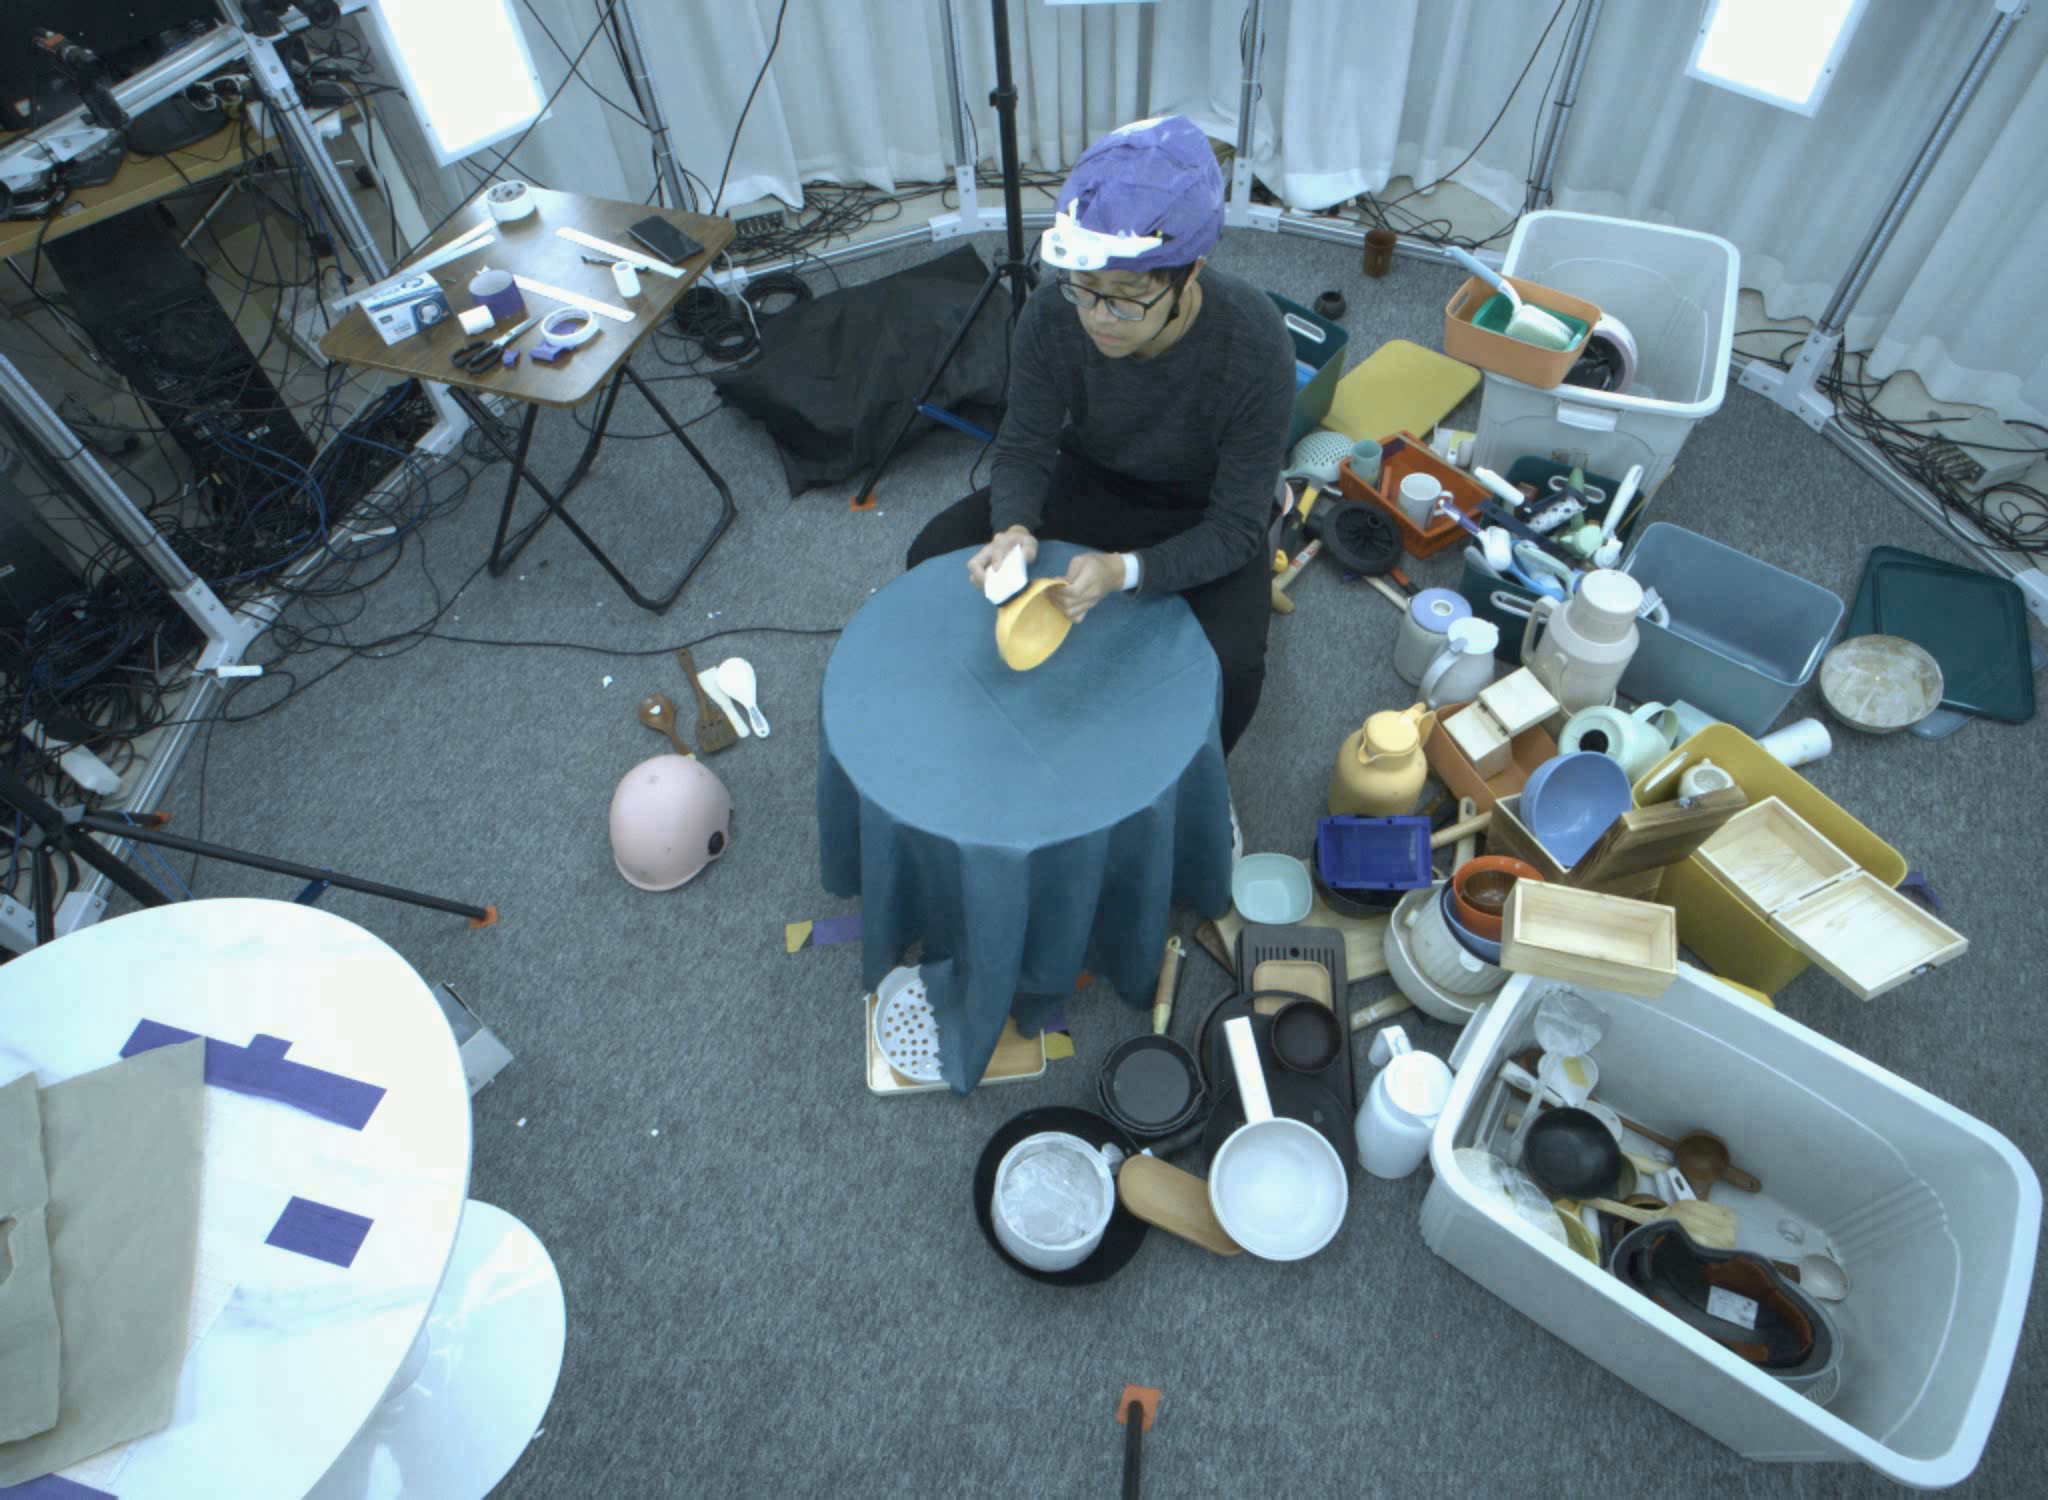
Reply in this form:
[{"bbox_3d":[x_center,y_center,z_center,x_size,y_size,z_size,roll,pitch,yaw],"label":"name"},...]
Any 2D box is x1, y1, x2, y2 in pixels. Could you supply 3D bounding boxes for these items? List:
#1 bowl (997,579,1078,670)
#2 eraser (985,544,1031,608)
[{"bbox_3d":[0.006,-0.192,1.774,0.146,0.147,0.059,-40,60,-22],"label":"bowl"},{"bbox_3d":[-0.023,-0.252,1.755,0.063,0.035,0.129,-31,29,15],"label":"eraser"}]
